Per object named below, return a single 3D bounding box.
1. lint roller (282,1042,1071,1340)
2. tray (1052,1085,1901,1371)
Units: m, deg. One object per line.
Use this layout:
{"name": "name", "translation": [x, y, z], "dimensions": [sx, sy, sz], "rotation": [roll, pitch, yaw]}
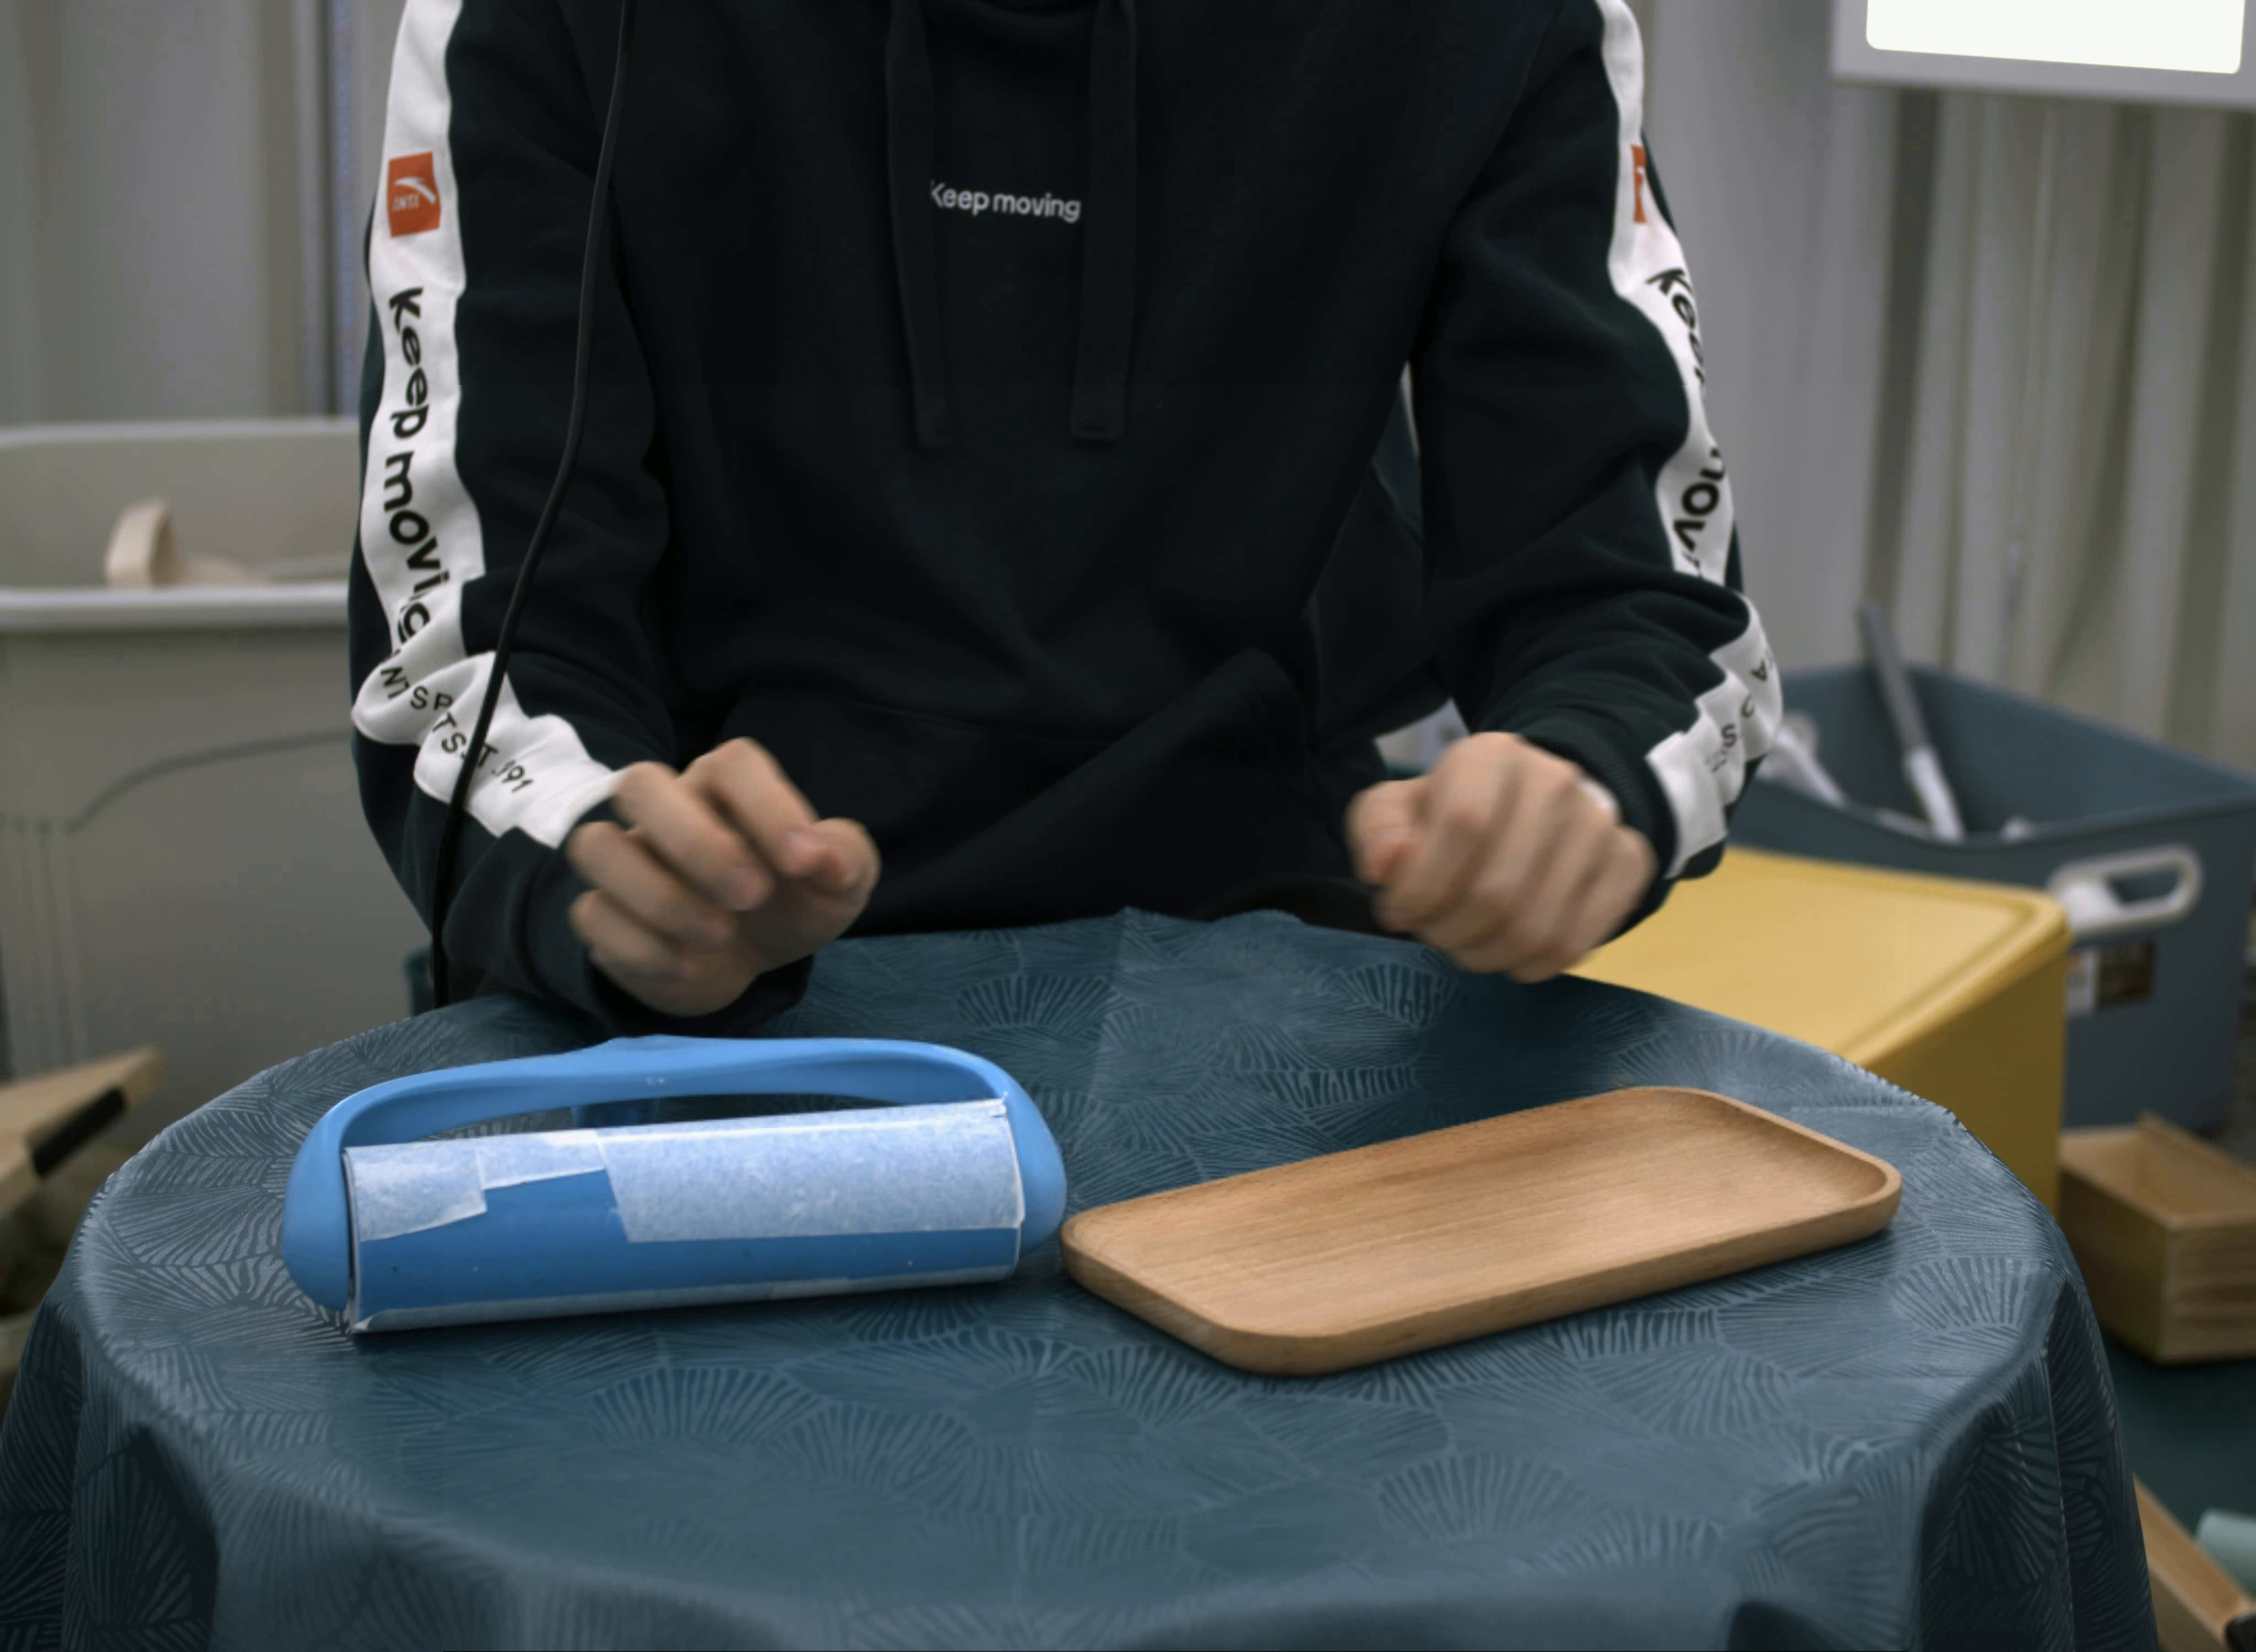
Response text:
{"name": "lint roller", "translation": [-0.144, 0.095, 1.569], "dimensions": [0.229, 0.068, 0.178], "rotation": [-6, 18, -16]}
{"name": "tray", "translation": [0.106, 0.118, 1.570], "dimensions": [0.252, 0.023, 0.129], "rotation": [-10, 16, -32]}
